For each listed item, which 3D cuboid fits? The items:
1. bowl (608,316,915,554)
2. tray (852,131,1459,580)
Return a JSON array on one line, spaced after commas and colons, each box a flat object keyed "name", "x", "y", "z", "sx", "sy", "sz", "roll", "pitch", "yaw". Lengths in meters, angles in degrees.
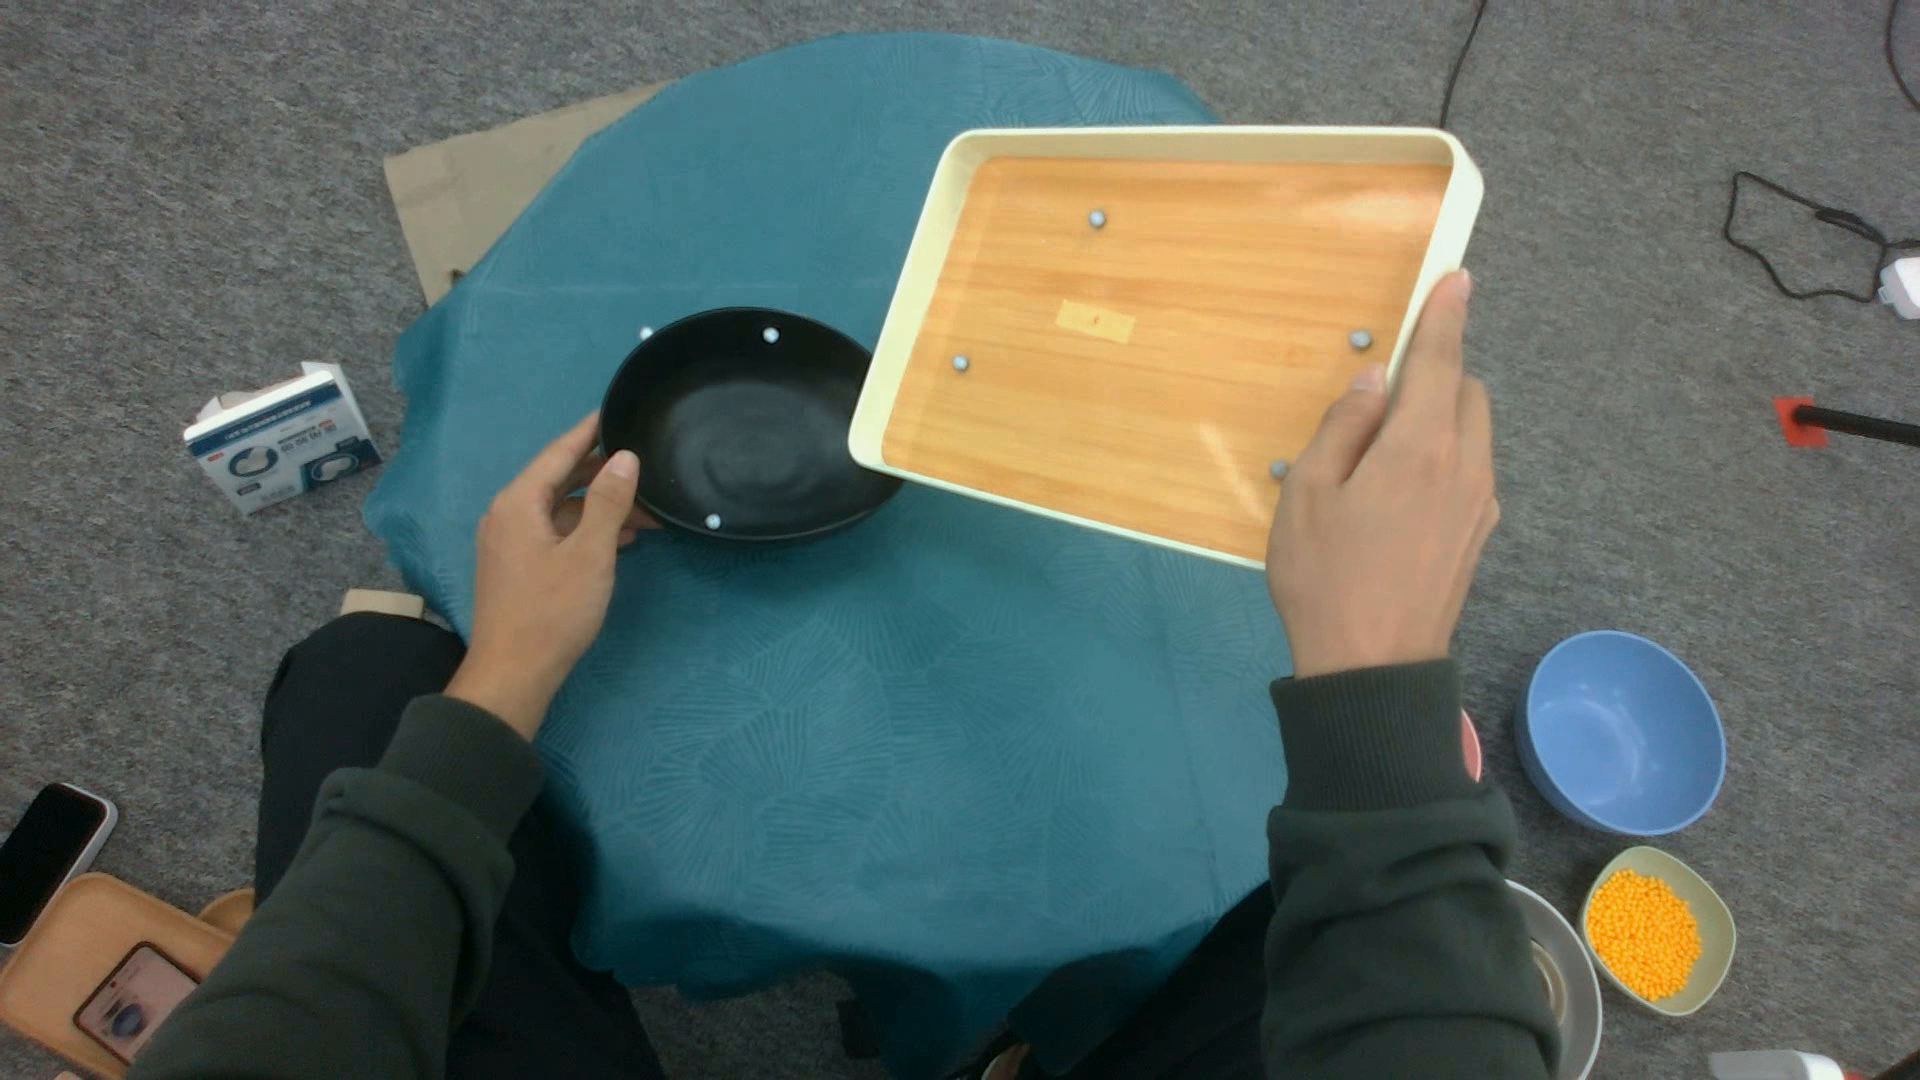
[{"name": "bowl", "x": -0.108, "y": -0.050, "z": 0.766, "sx": 0.170, "sy": 0.066, "sz": 0.137, "roll": -3, "pitch": 70, "yaw": -17}, {"name": "tray", "x": 0.075, "y": -0.101, "z": 0.664, "sx": 0.300, "sy": 0.027, "sz": 0.191, "roll": 16, "pitch": 88, "yaw": 44}]
